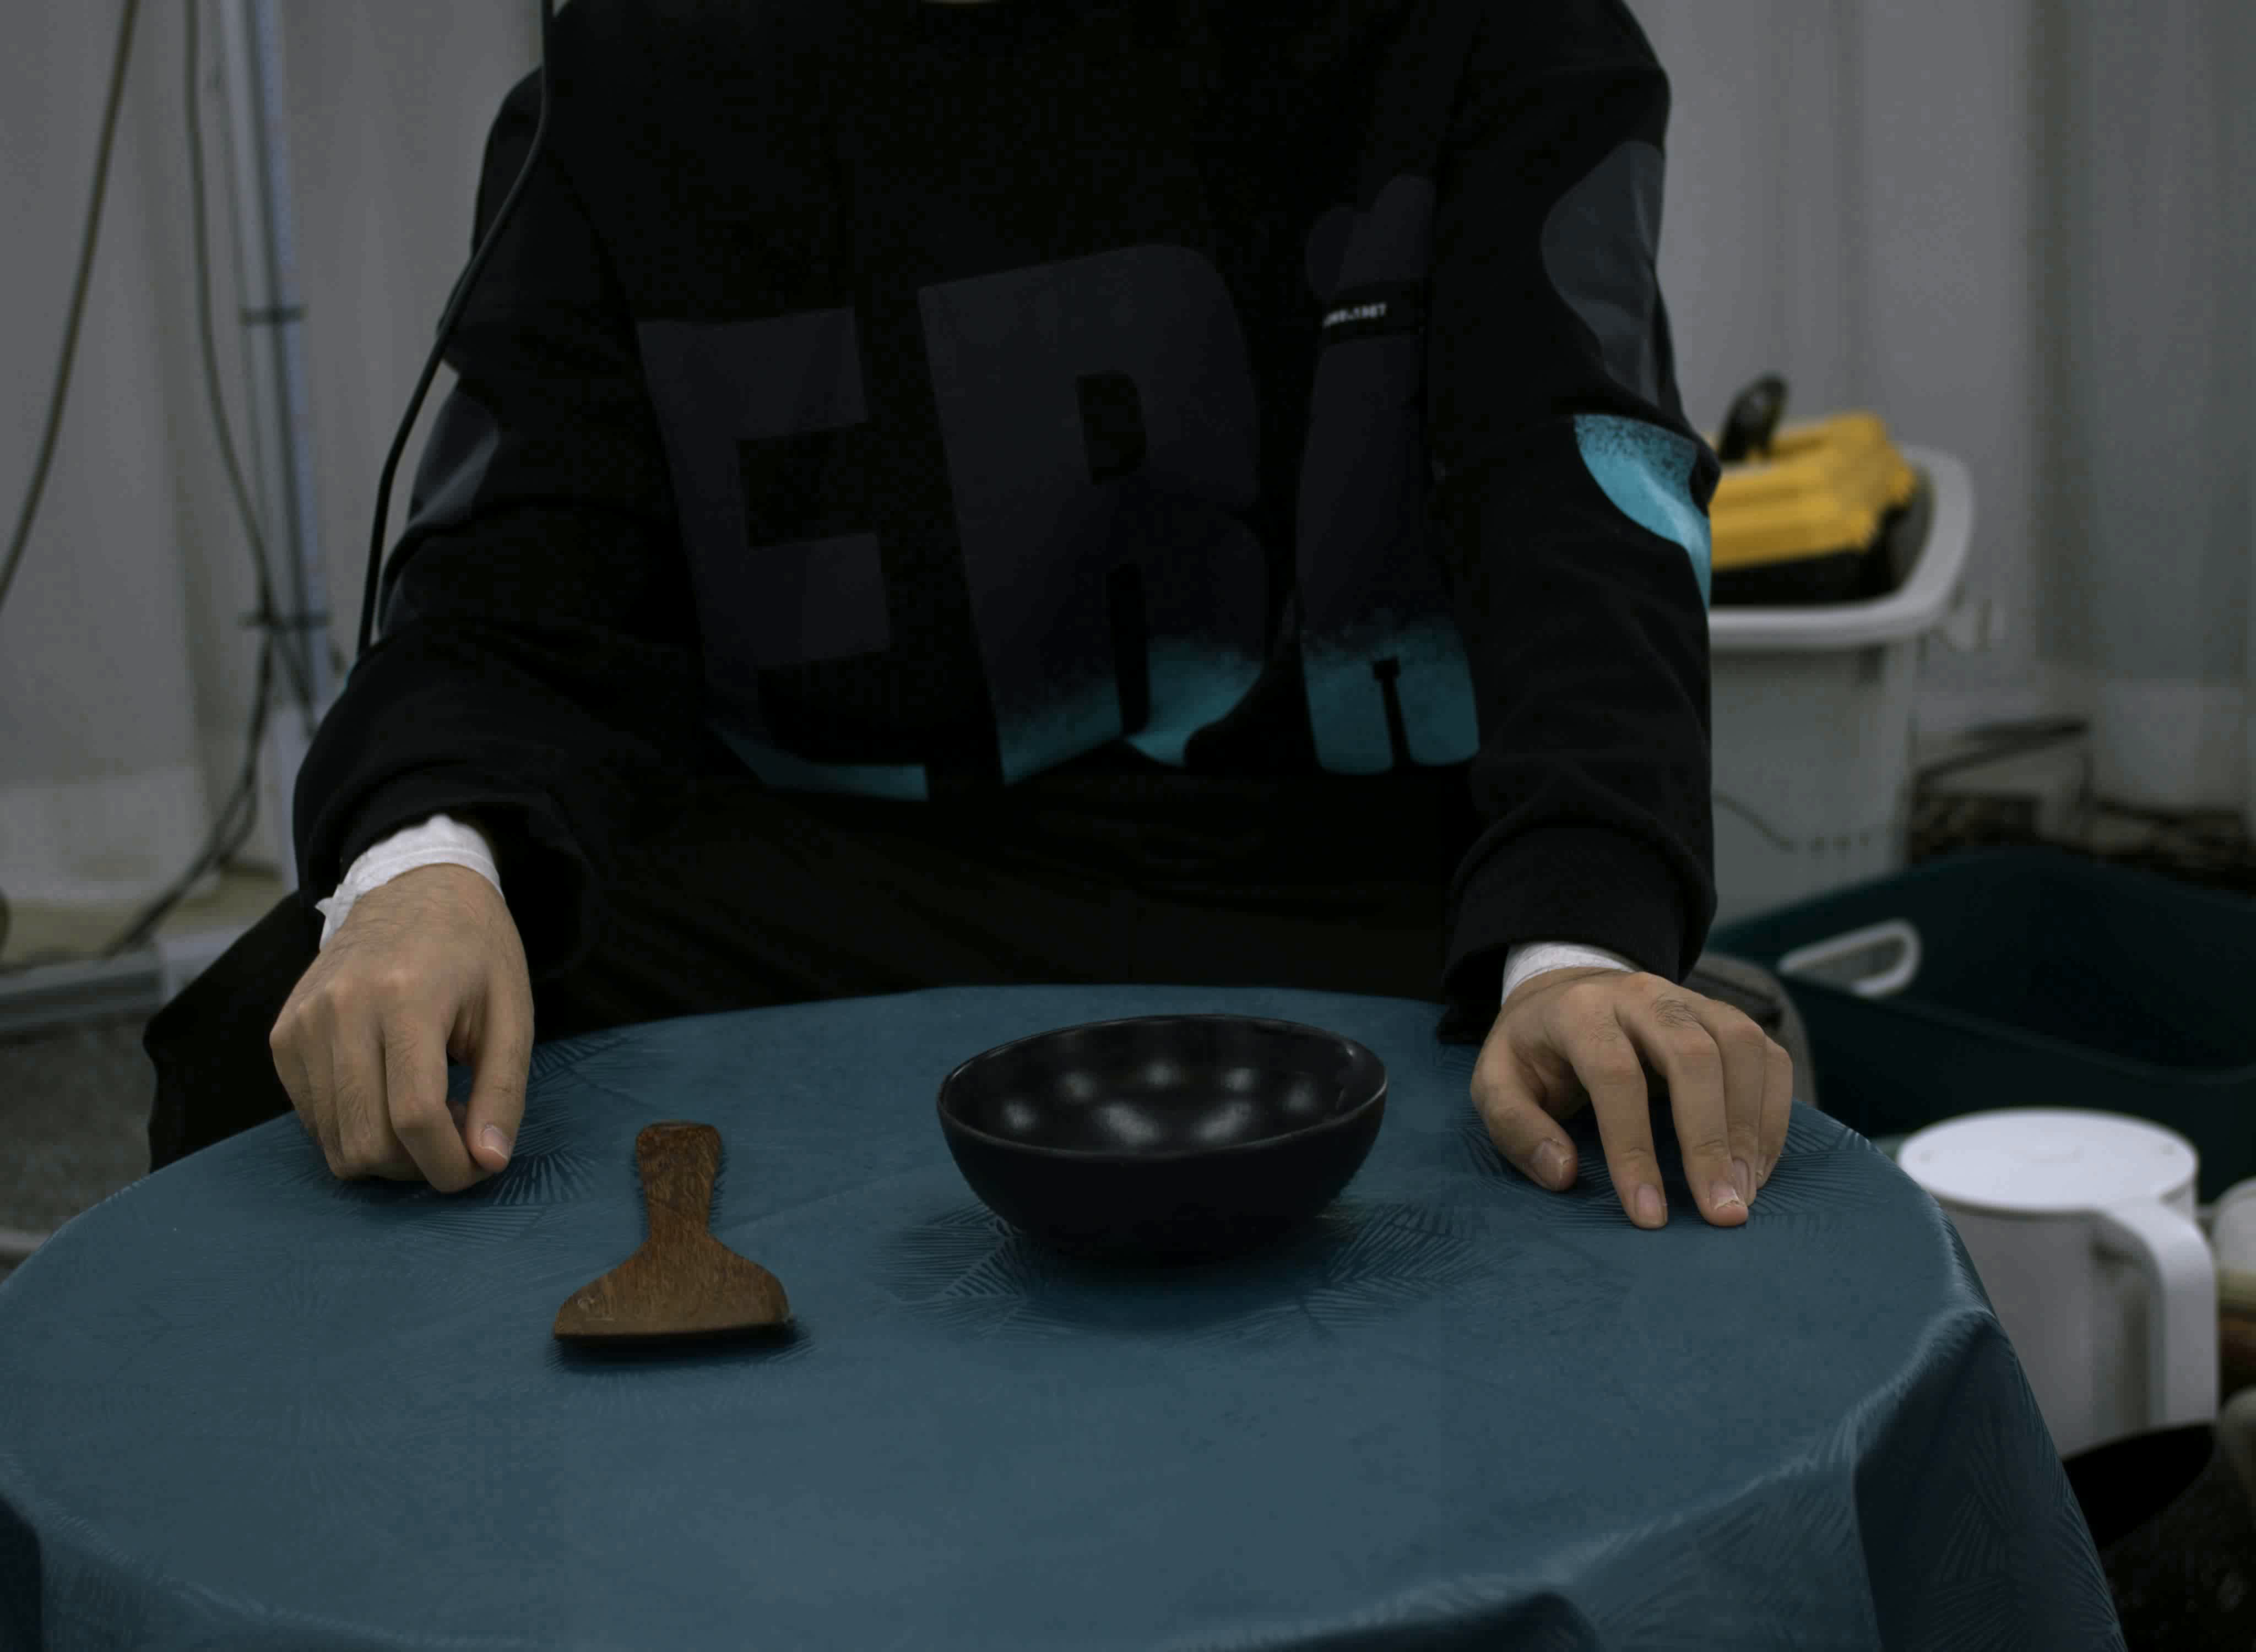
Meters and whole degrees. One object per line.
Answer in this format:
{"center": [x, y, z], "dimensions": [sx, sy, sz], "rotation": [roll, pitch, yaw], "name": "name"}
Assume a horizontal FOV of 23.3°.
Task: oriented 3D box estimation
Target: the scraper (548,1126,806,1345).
{"center": [-0.138, 0.126, 1.685], "dimensions": [0.075, 0.011, 0.213], "rotation": [-2, 14, -4], "name": "scraper"}

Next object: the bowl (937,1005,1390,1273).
{"center": [0.013, 0.101, 1.669], "dimensions": [0.139, 0.049, 0.141], "rotation": [-5, 16, 1], "name": "bowl"}
